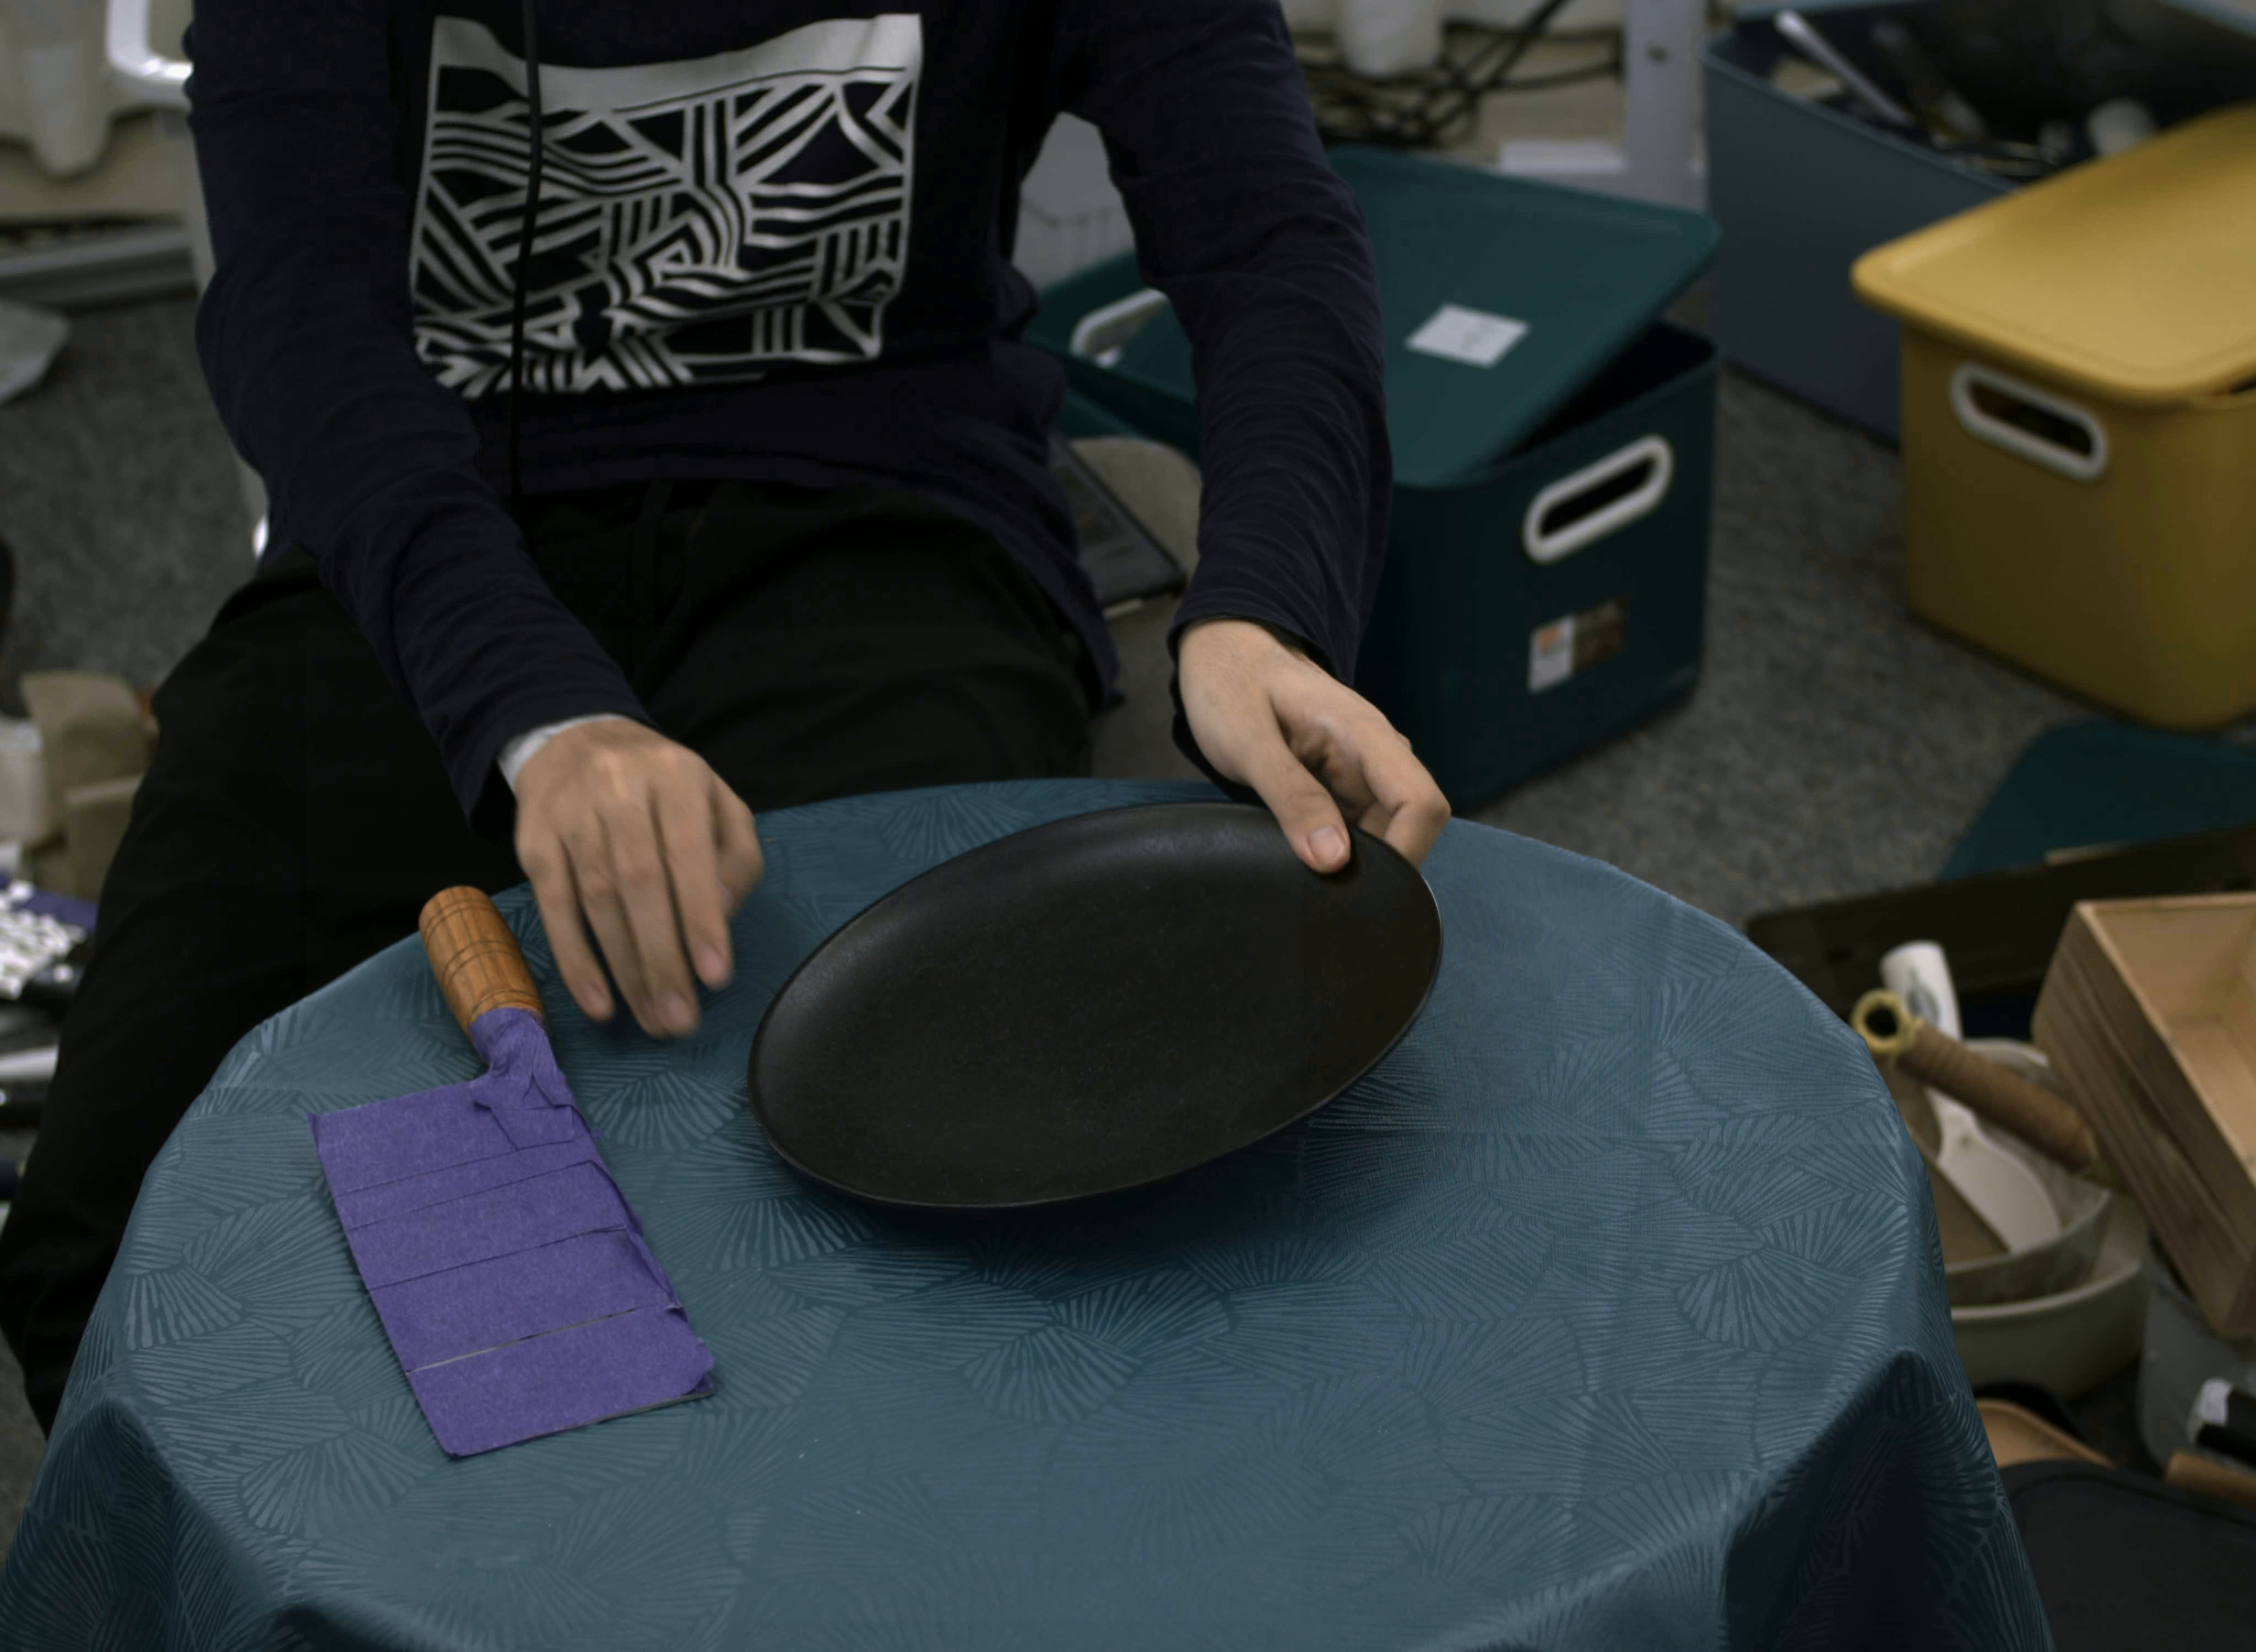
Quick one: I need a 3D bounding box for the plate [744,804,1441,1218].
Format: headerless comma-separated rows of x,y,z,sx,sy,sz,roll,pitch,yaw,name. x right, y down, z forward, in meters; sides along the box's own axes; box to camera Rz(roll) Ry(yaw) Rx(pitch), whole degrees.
-0.011,0.066,1.911,0.243,0.023,0.248,-11,30,6,plate

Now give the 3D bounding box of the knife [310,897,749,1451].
-0.220,0.112,1.873,0.104,0.032,0.318,-11,29,-17,knife
